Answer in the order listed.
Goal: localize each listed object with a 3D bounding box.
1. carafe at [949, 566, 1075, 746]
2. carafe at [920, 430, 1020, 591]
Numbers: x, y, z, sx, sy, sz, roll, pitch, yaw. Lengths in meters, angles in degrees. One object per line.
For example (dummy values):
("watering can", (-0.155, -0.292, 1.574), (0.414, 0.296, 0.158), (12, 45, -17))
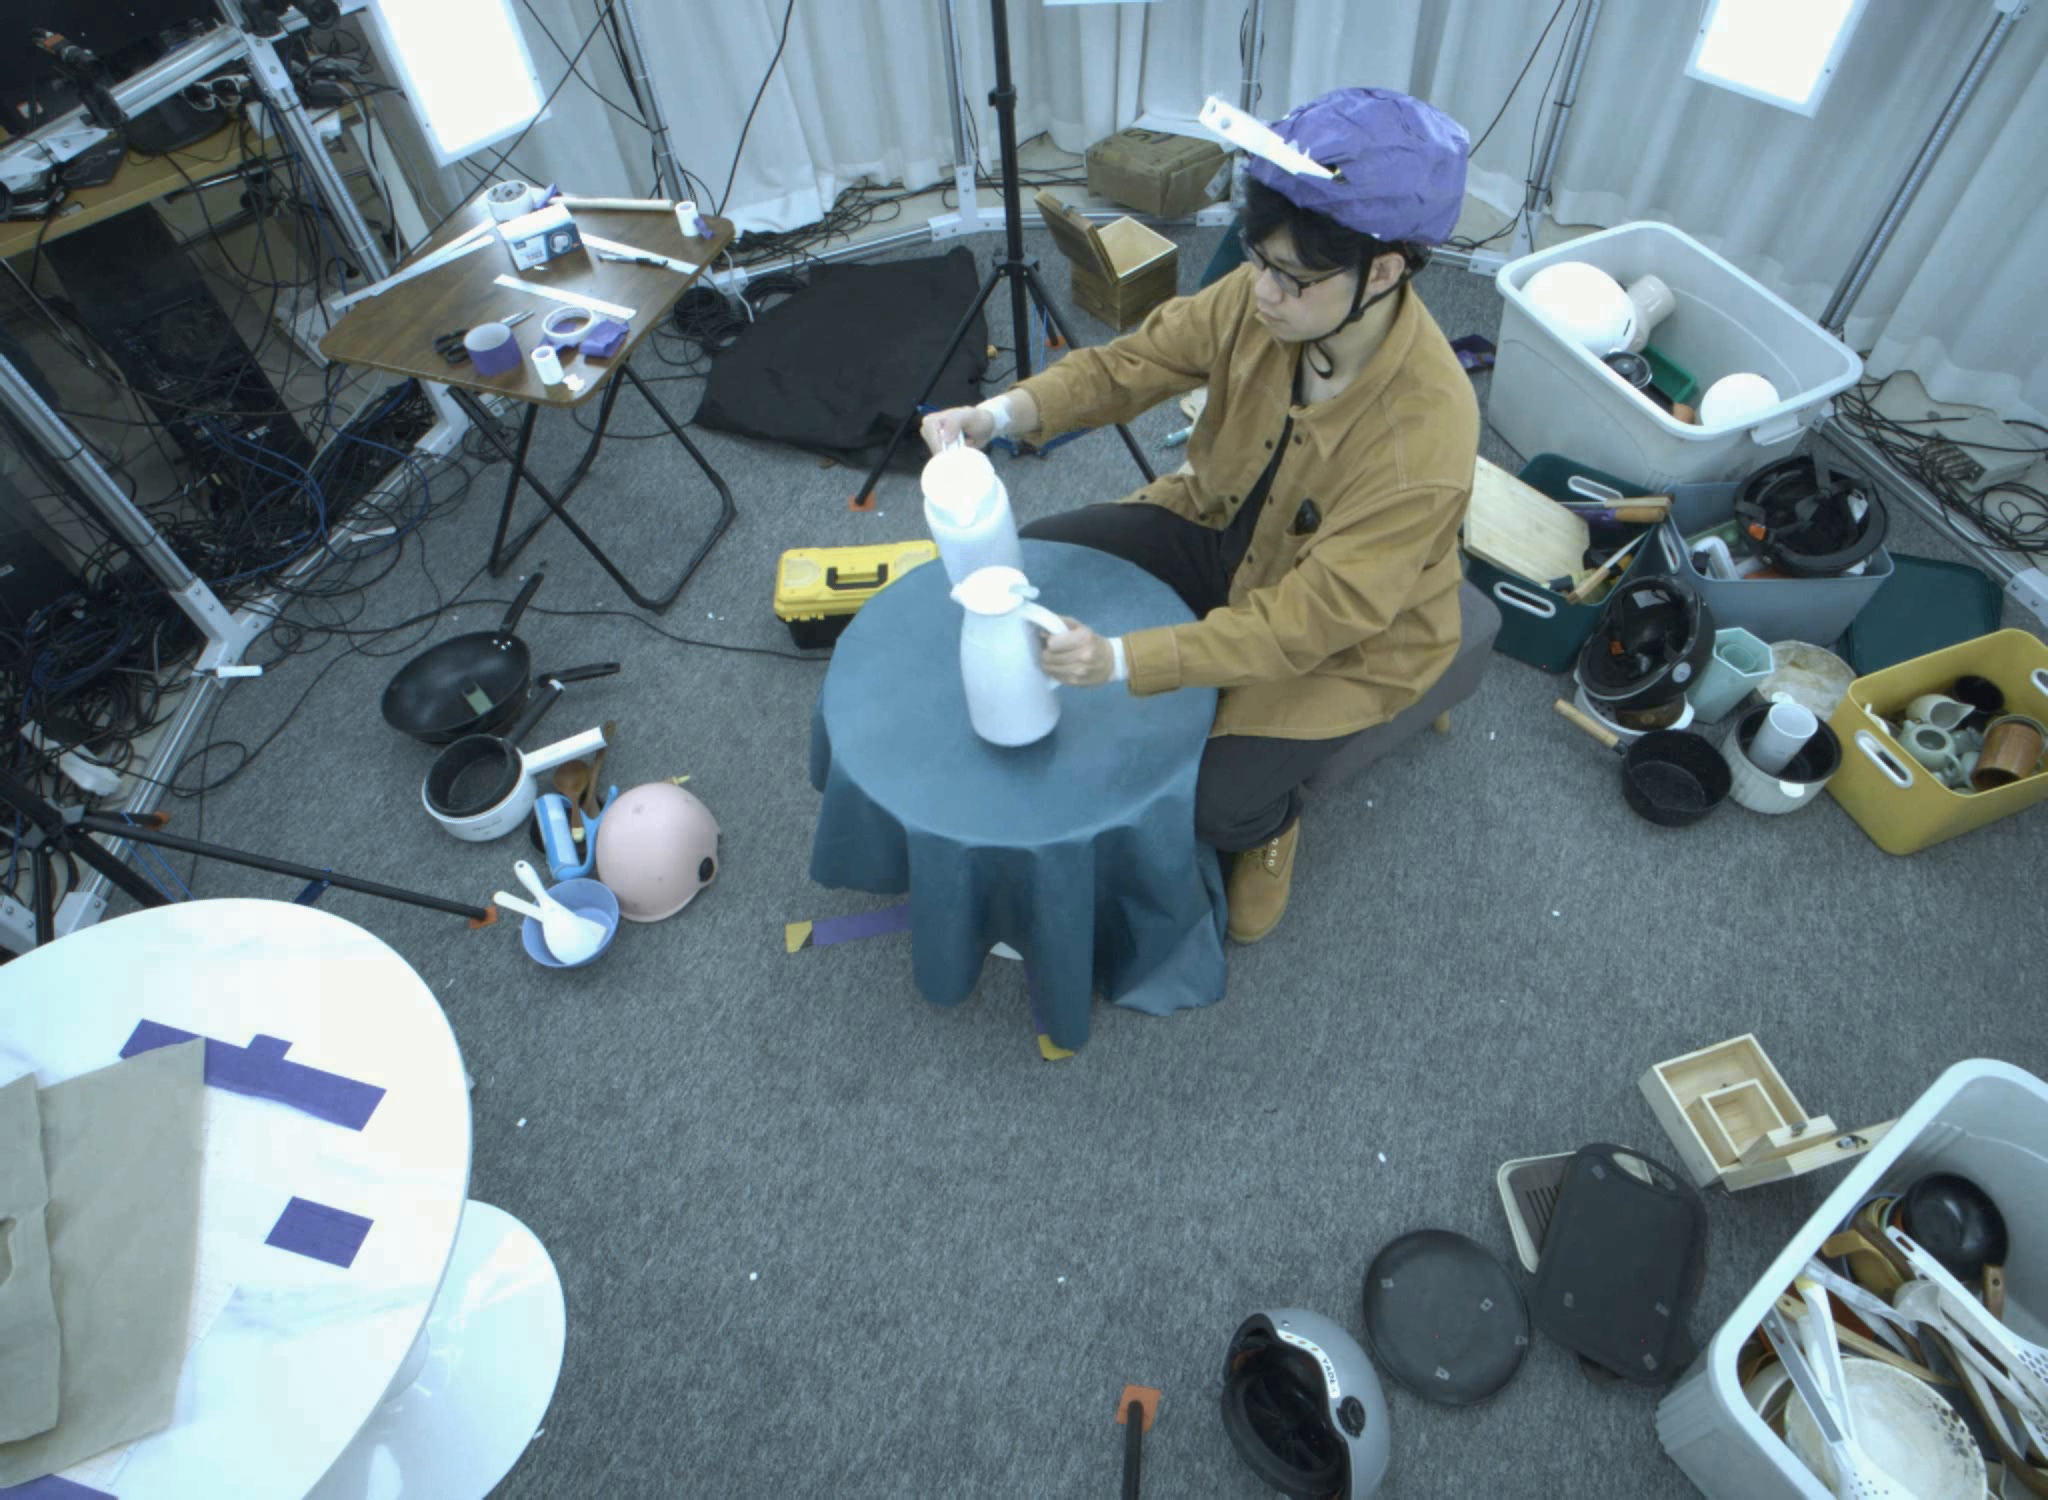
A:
("carafe", (-0.009, -0.131, 1.674), (0.166, 0.252, 0.132), (13, 54, 17))
("carafe", (-0.081, -0.334, 1.751), (0.123, 0.272, 0.171), (-11, 70, 4))
